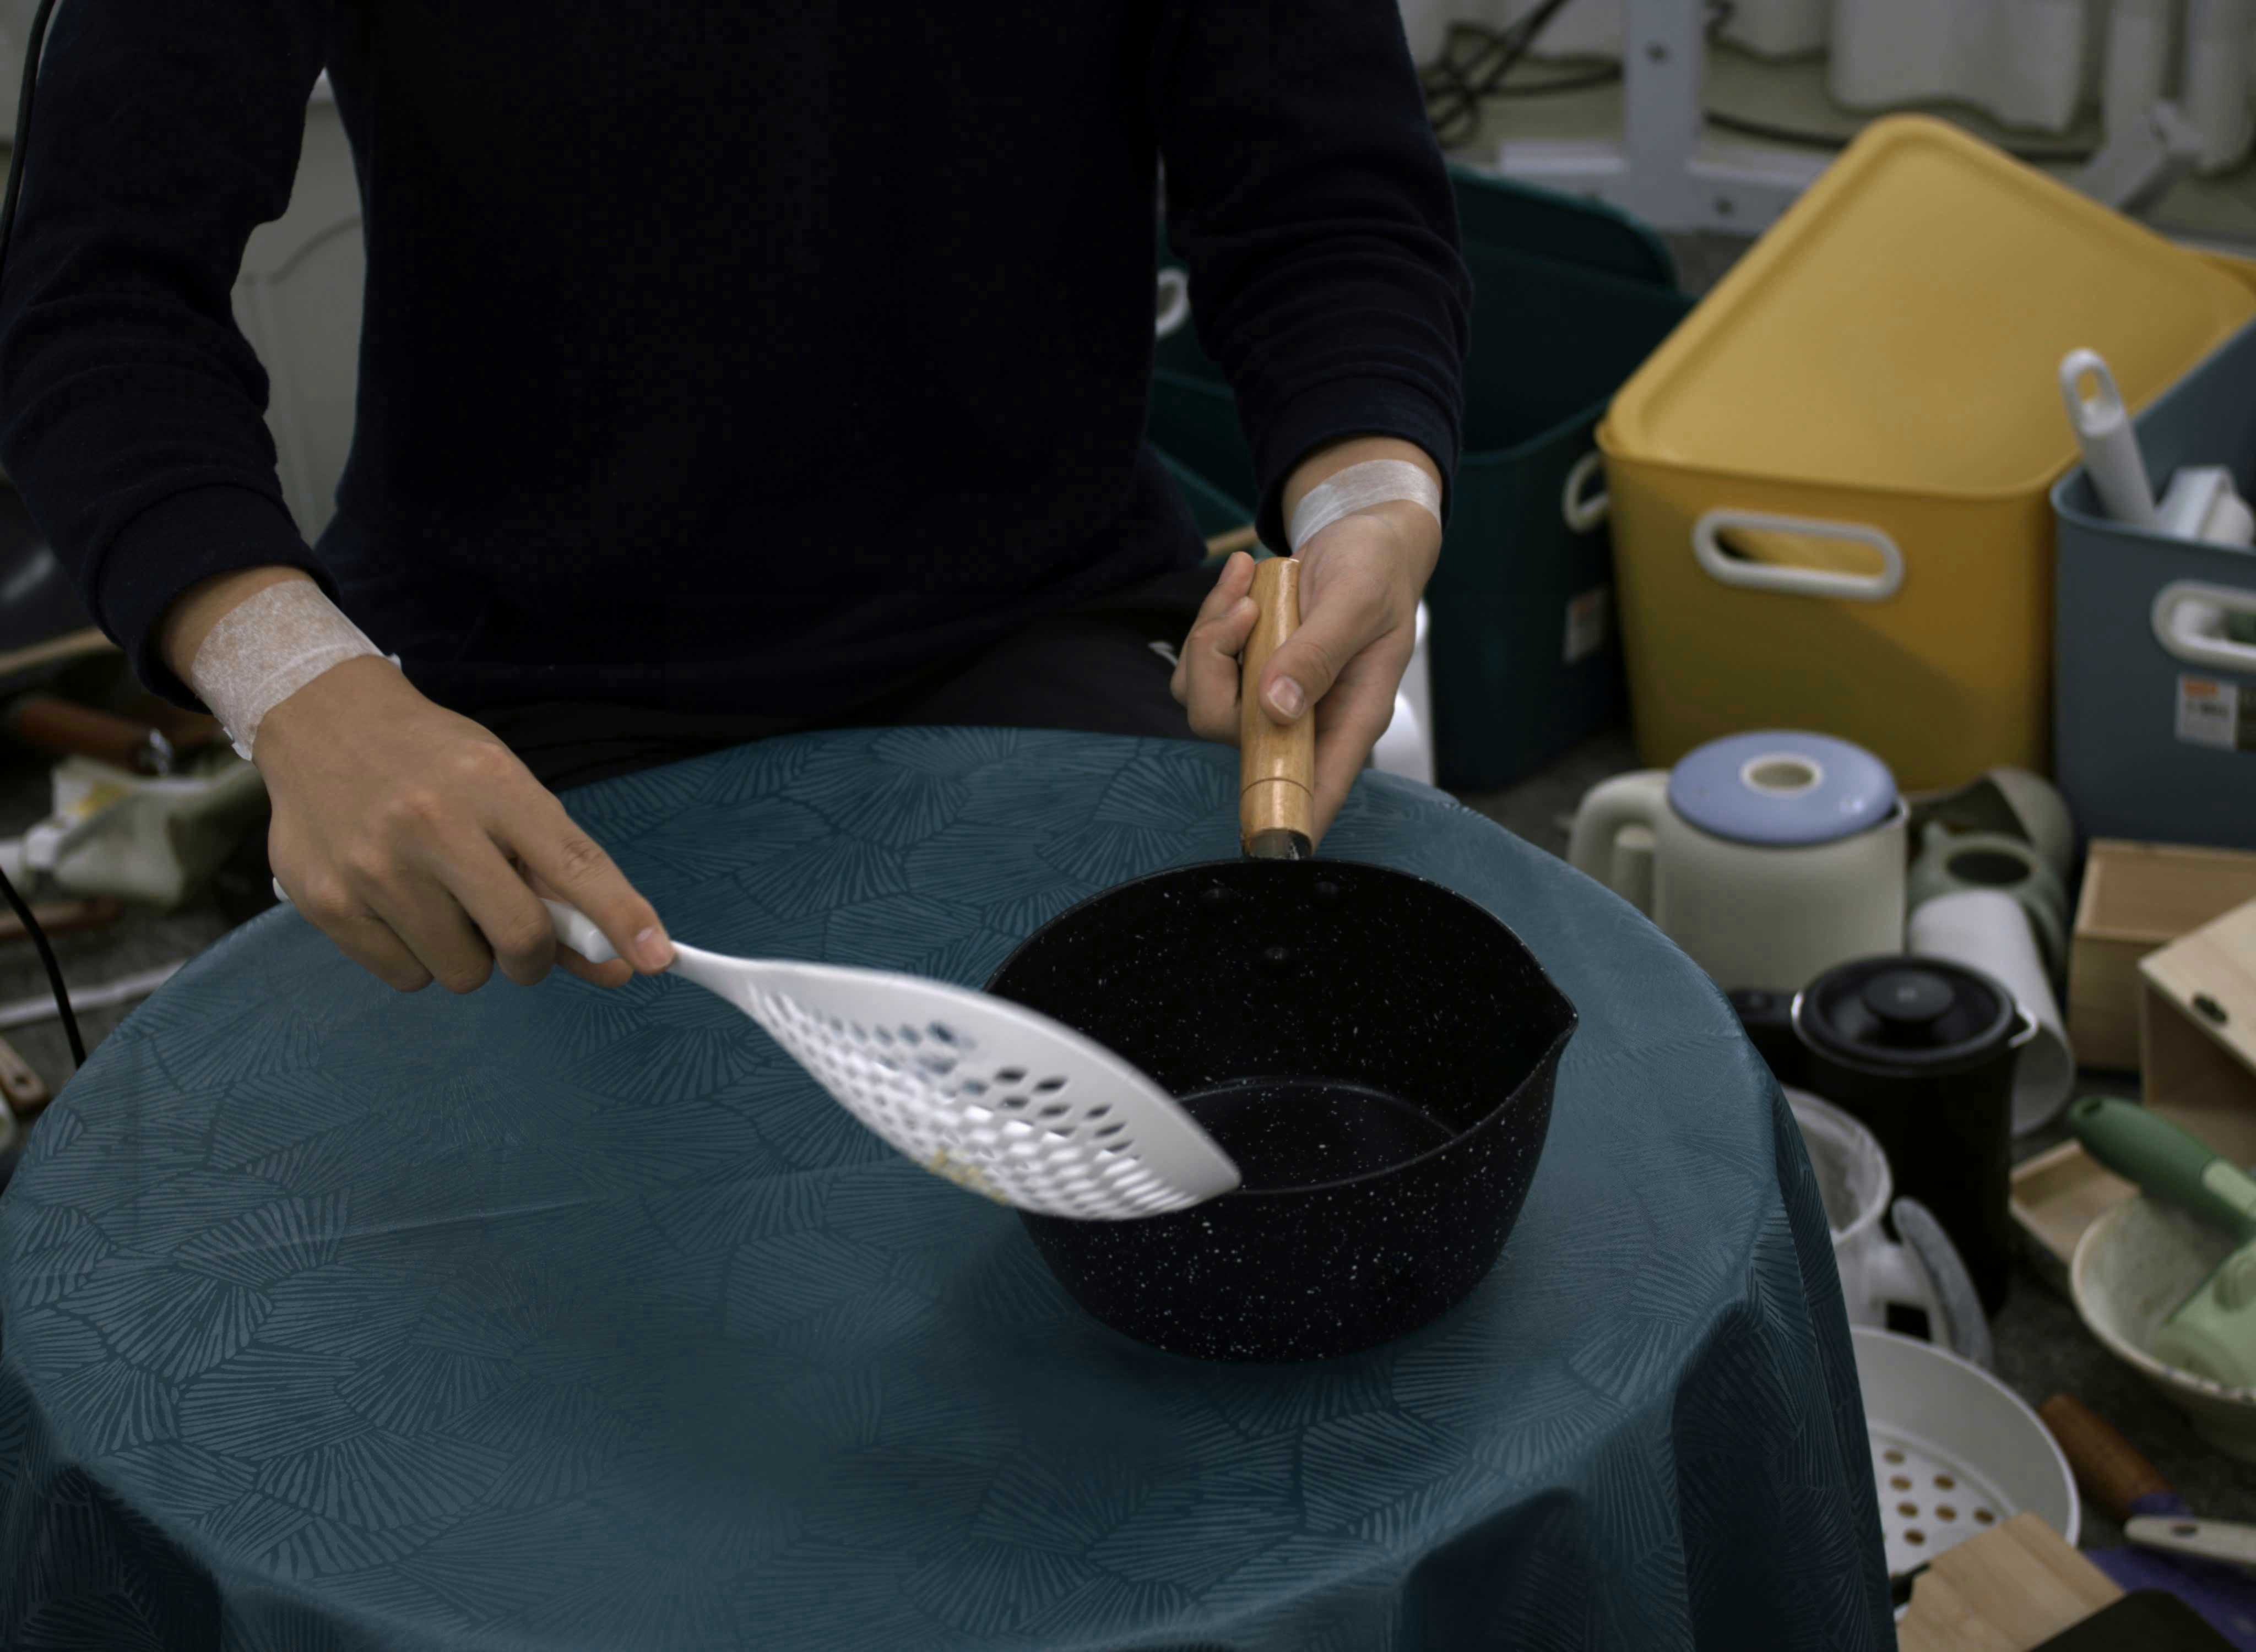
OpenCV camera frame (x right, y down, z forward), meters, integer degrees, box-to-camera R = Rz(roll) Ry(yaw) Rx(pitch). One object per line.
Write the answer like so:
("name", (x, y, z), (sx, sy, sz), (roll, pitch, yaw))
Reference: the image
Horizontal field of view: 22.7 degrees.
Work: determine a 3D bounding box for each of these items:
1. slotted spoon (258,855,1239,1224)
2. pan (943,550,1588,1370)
("slotted spoon", (-0.124, 0.055, 1.719), (0.347, 0.136, 0.051), (23, 78, 30))
("pan", (0.047, 0.042, 1.867), (0.206, 0.107, 0.349), (-3, 34, 3))
